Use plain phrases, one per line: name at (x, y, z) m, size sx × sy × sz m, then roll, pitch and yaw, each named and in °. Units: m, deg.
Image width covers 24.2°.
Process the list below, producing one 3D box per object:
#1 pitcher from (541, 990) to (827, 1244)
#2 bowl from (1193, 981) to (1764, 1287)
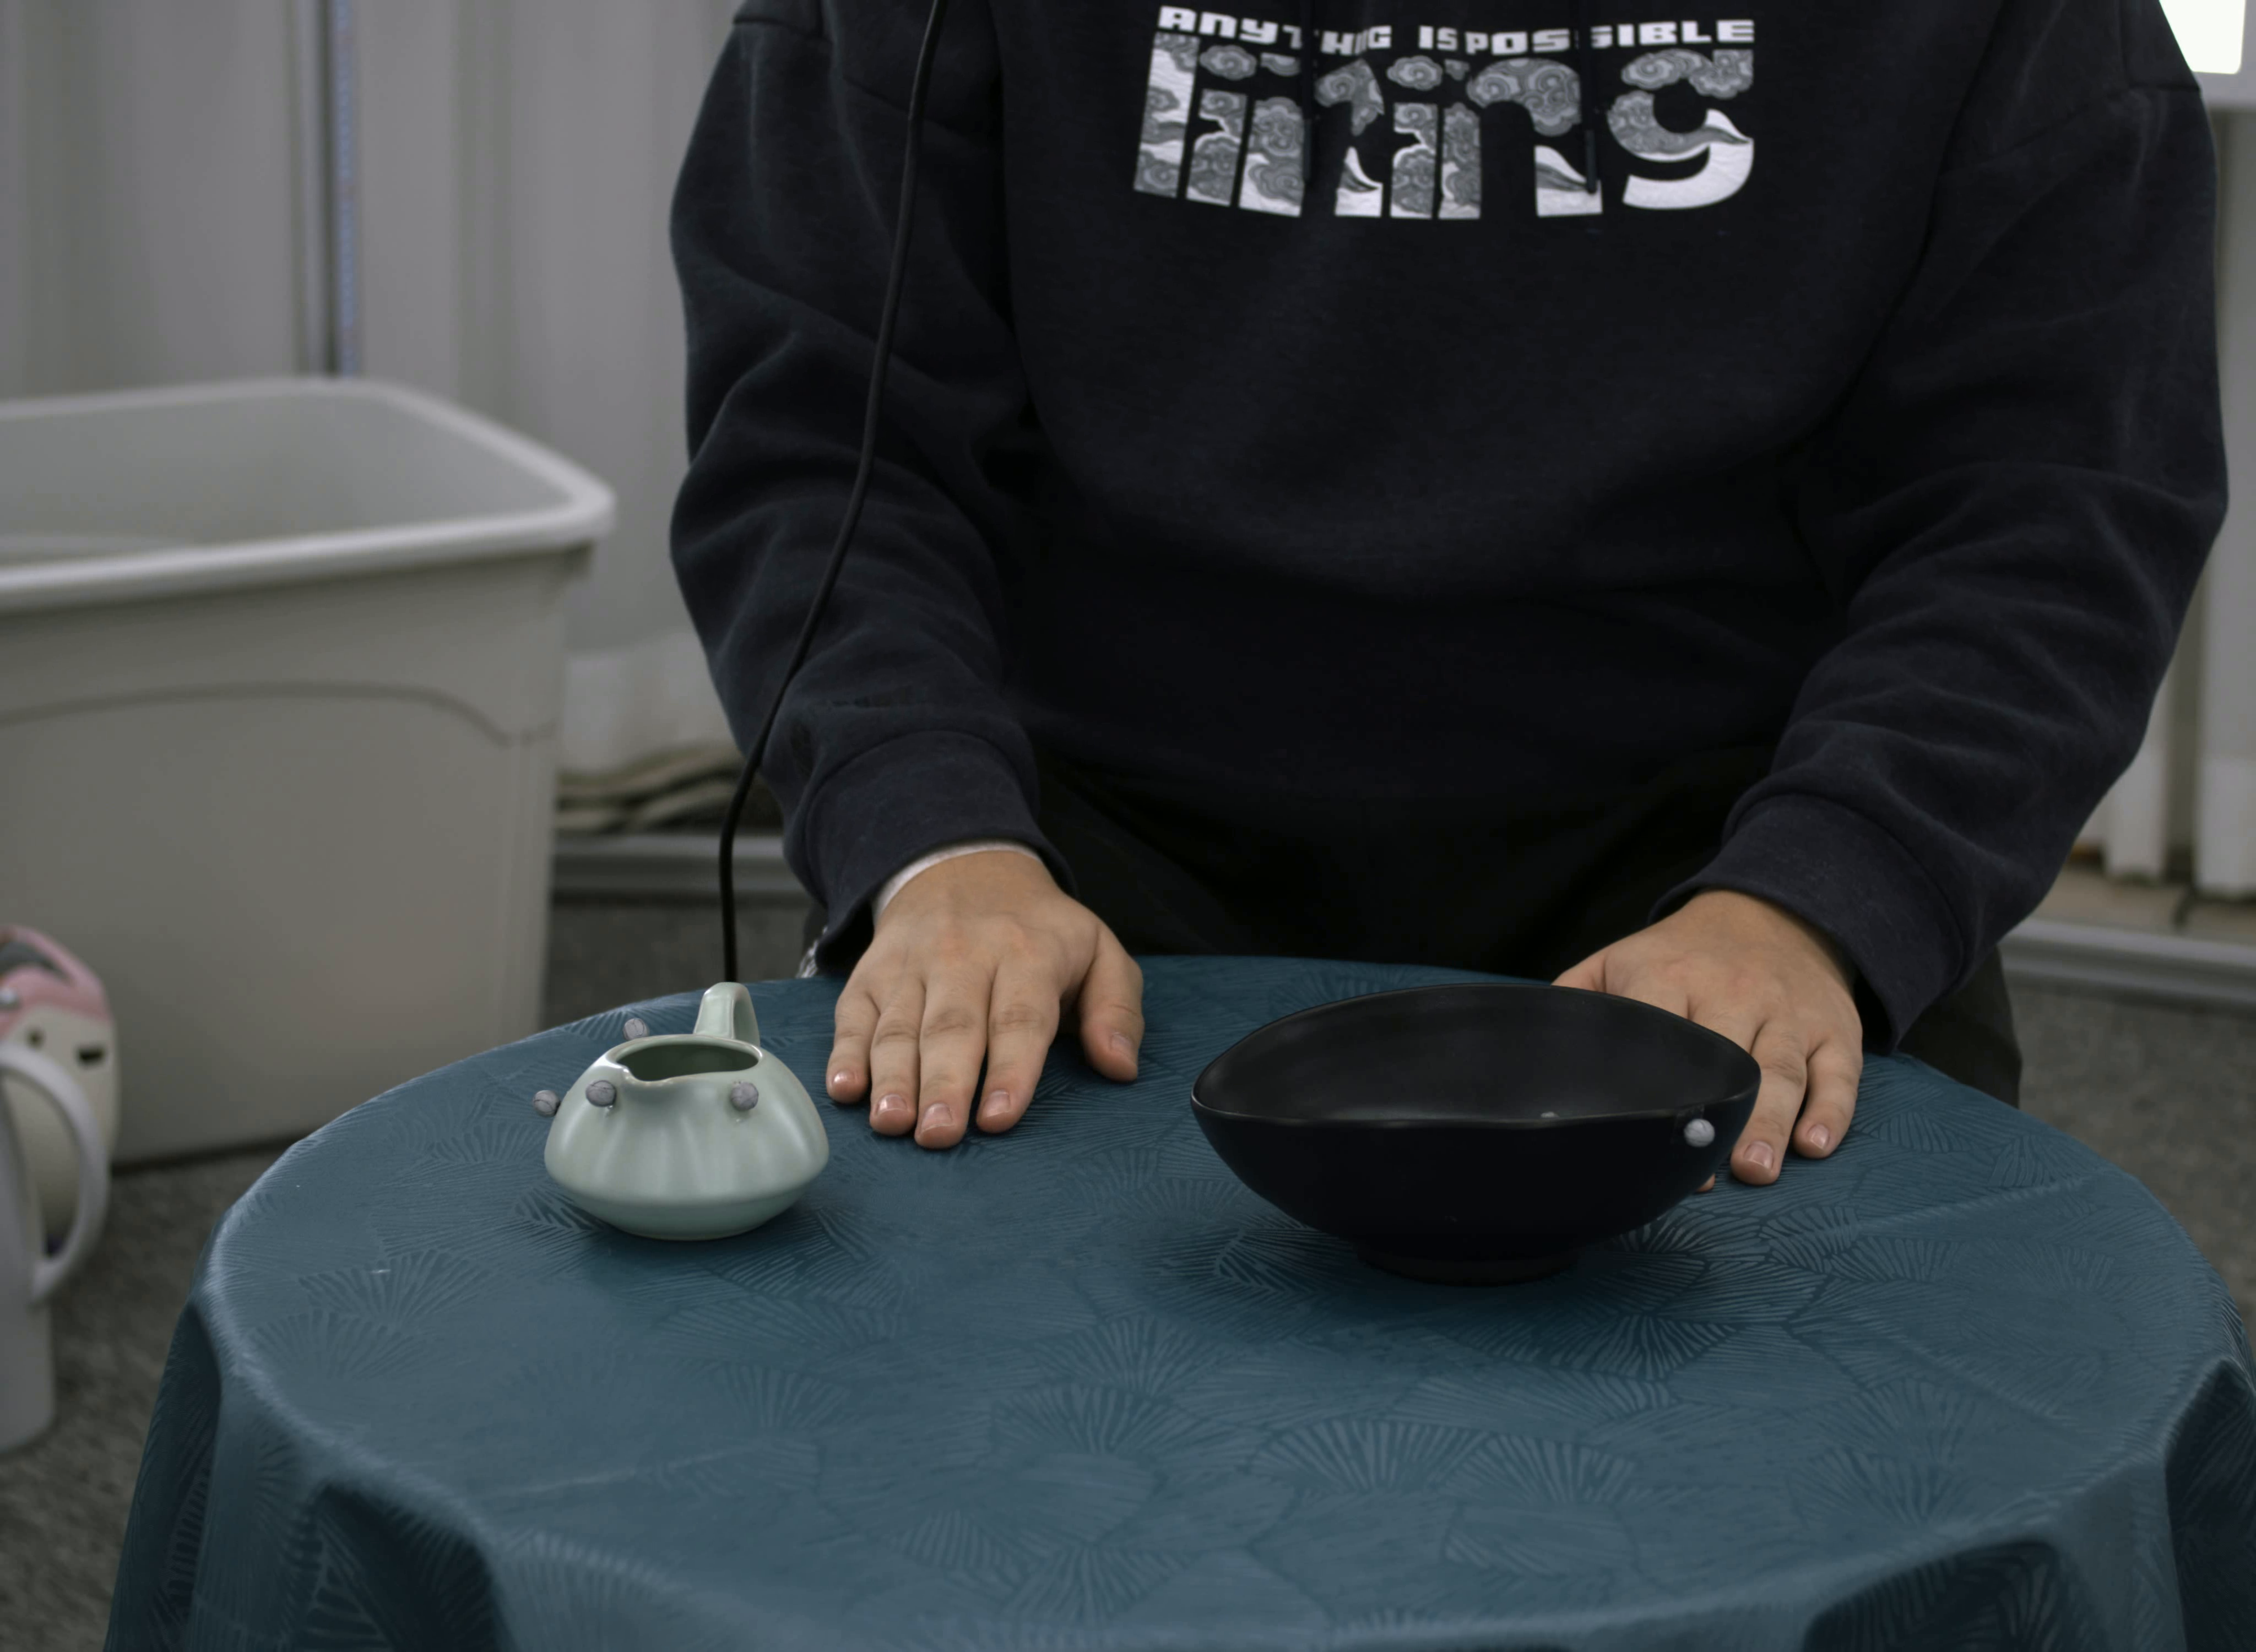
pitcher at (-0.132, 0.089, 1.601) m, size 0.085 × 0.061 × 0.108 m, roll 4°, pitch 14°, yaw 9°
bowl at (0.104, 0.097, 1.571) m, size 0.170 × 0.067 × 0.136 m, roll -1°, pitch 15°, yaw -4°
